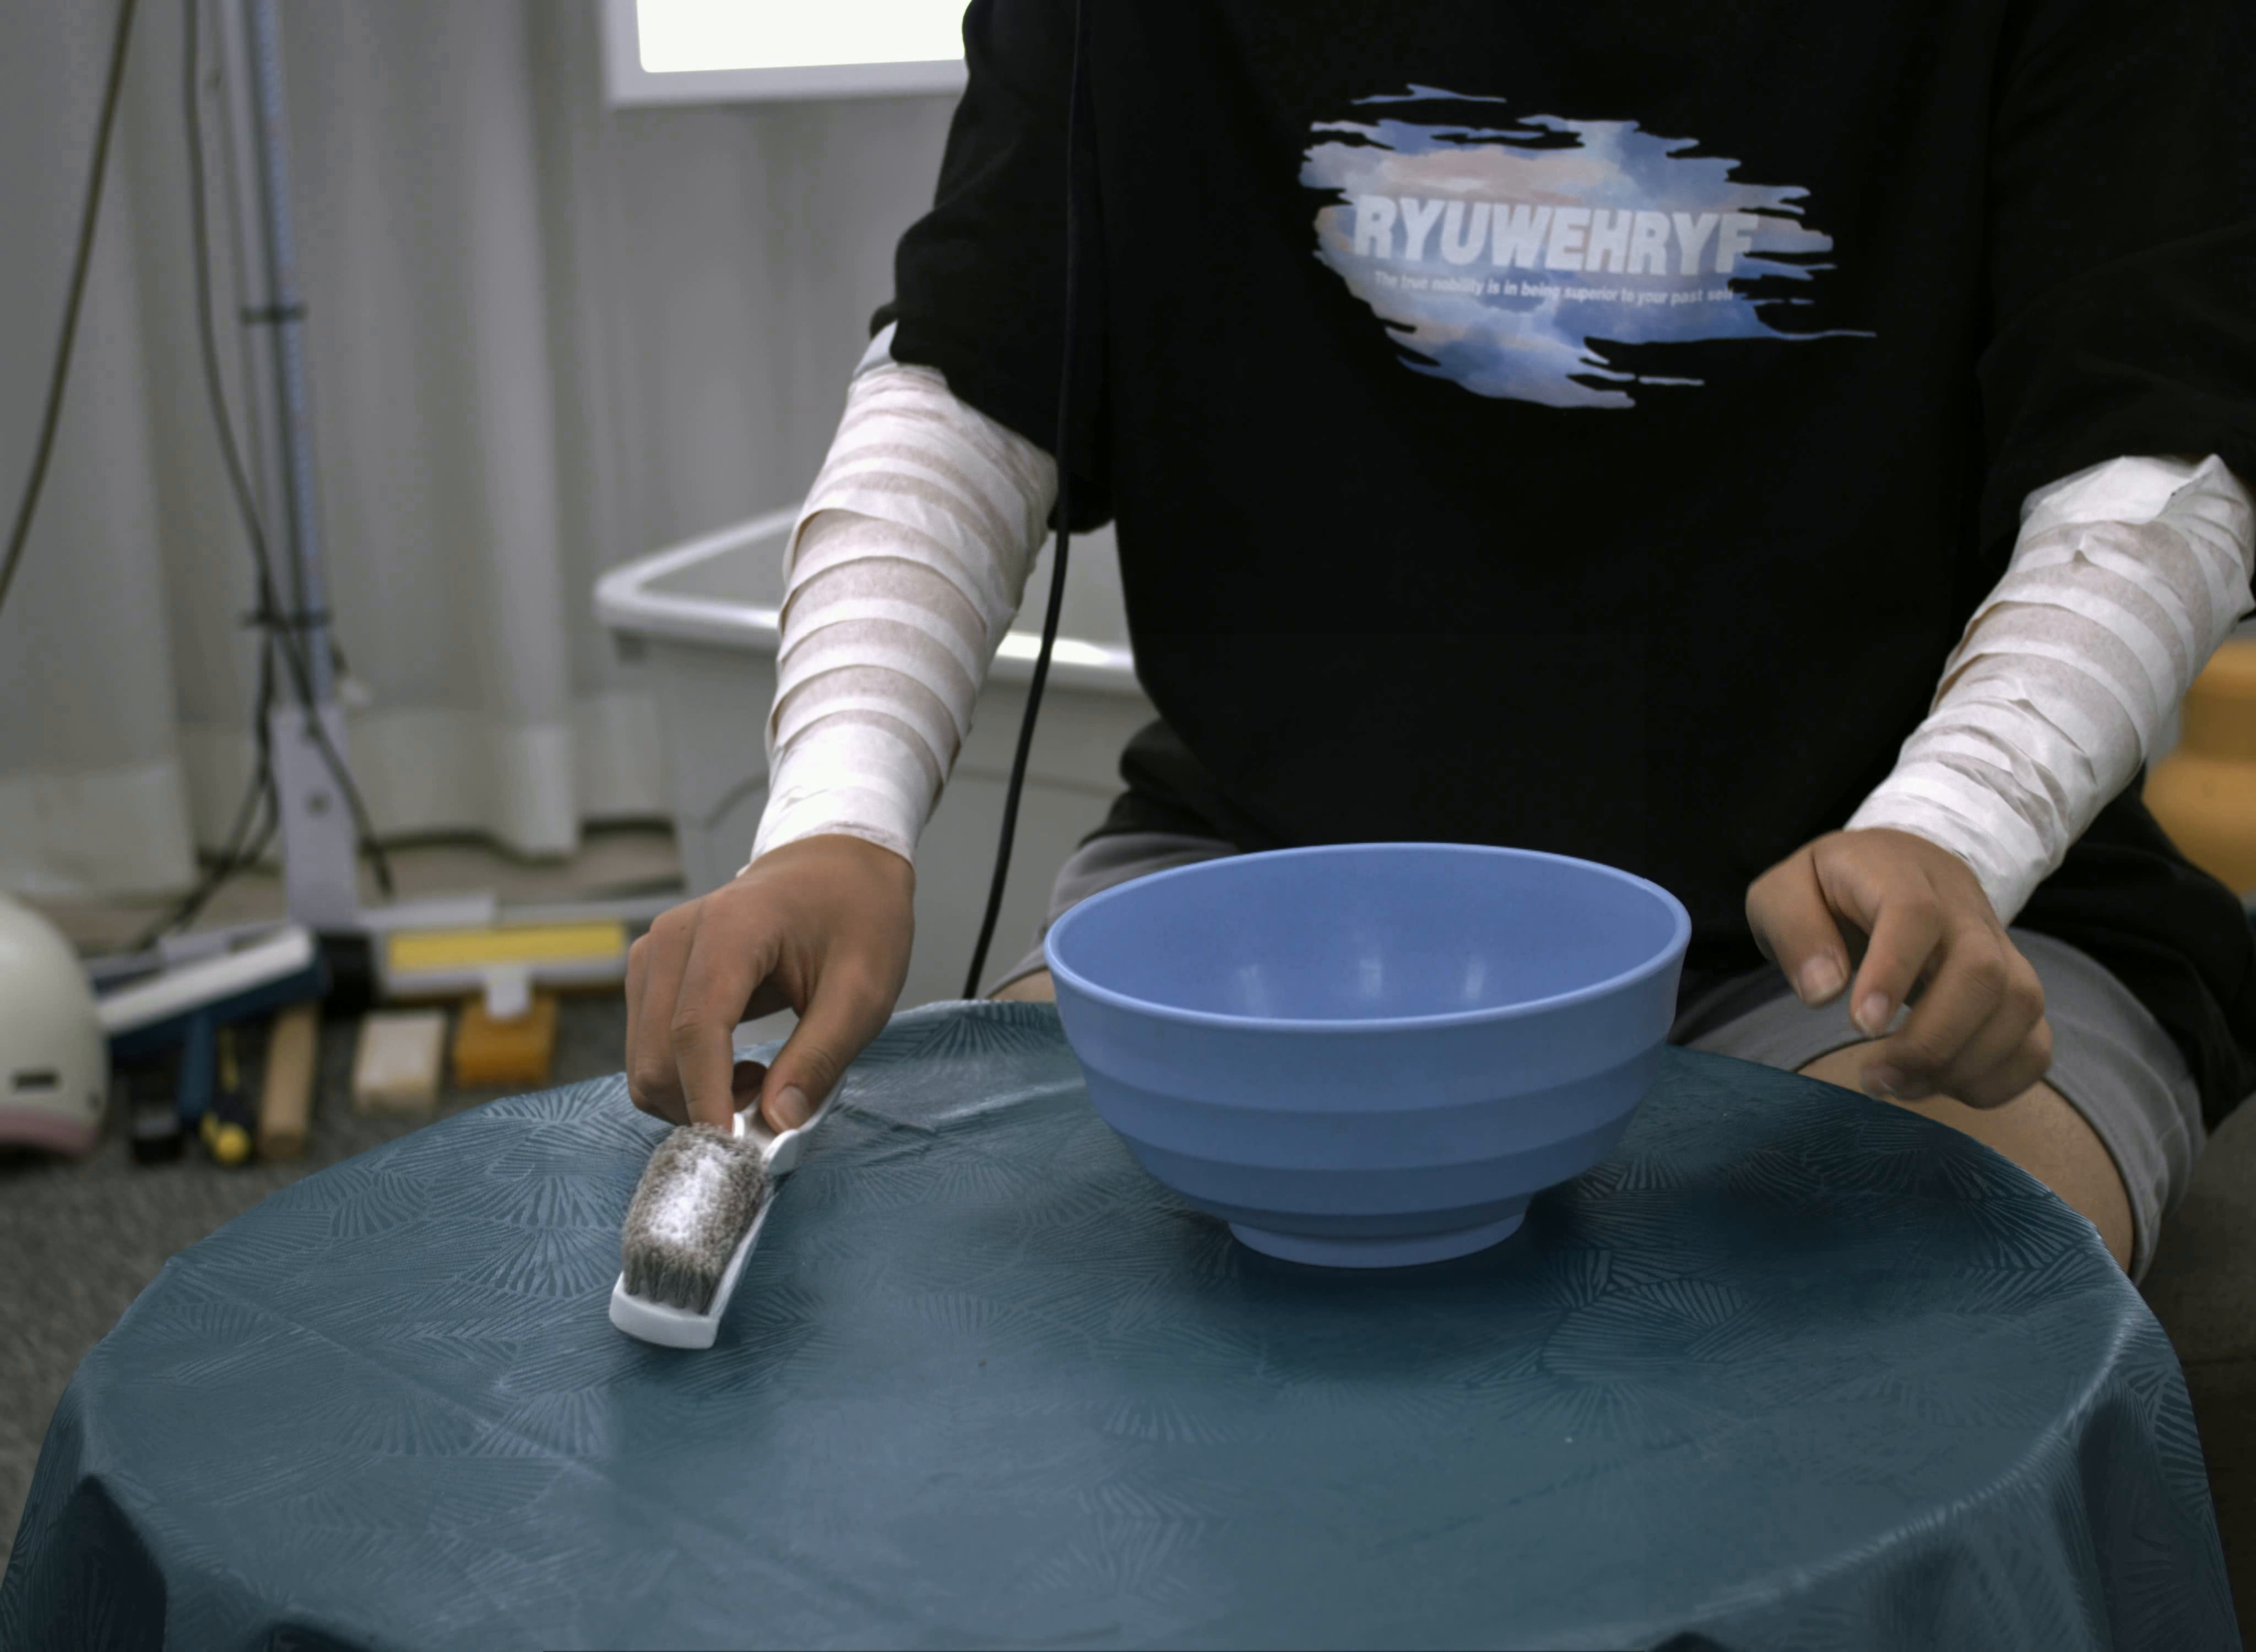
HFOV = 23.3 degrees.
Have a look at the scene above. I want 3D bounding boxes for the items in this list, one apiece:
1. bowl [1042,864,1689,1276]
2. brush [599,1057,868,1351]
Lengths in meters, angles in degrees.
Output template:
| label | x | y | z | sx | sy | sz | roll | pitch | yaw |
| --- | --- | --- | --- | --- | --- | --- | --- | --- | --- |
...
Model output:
| label | x | y | z | sx | sy | sz | roll | pitch | yaw |
| --- | --- | --- | --- | --- | --- | --- | --- | --- | --- |
| bowl | 0.074 | 0.078 | 1.664 | 0.196 | 0.095 | 0.197 | -4 | 12 | 1 |
| brush | -0.114 | 0.097 | 1.687 | 0.034 | 0.050 | 0.245 | 15 | 19 | 7 |
